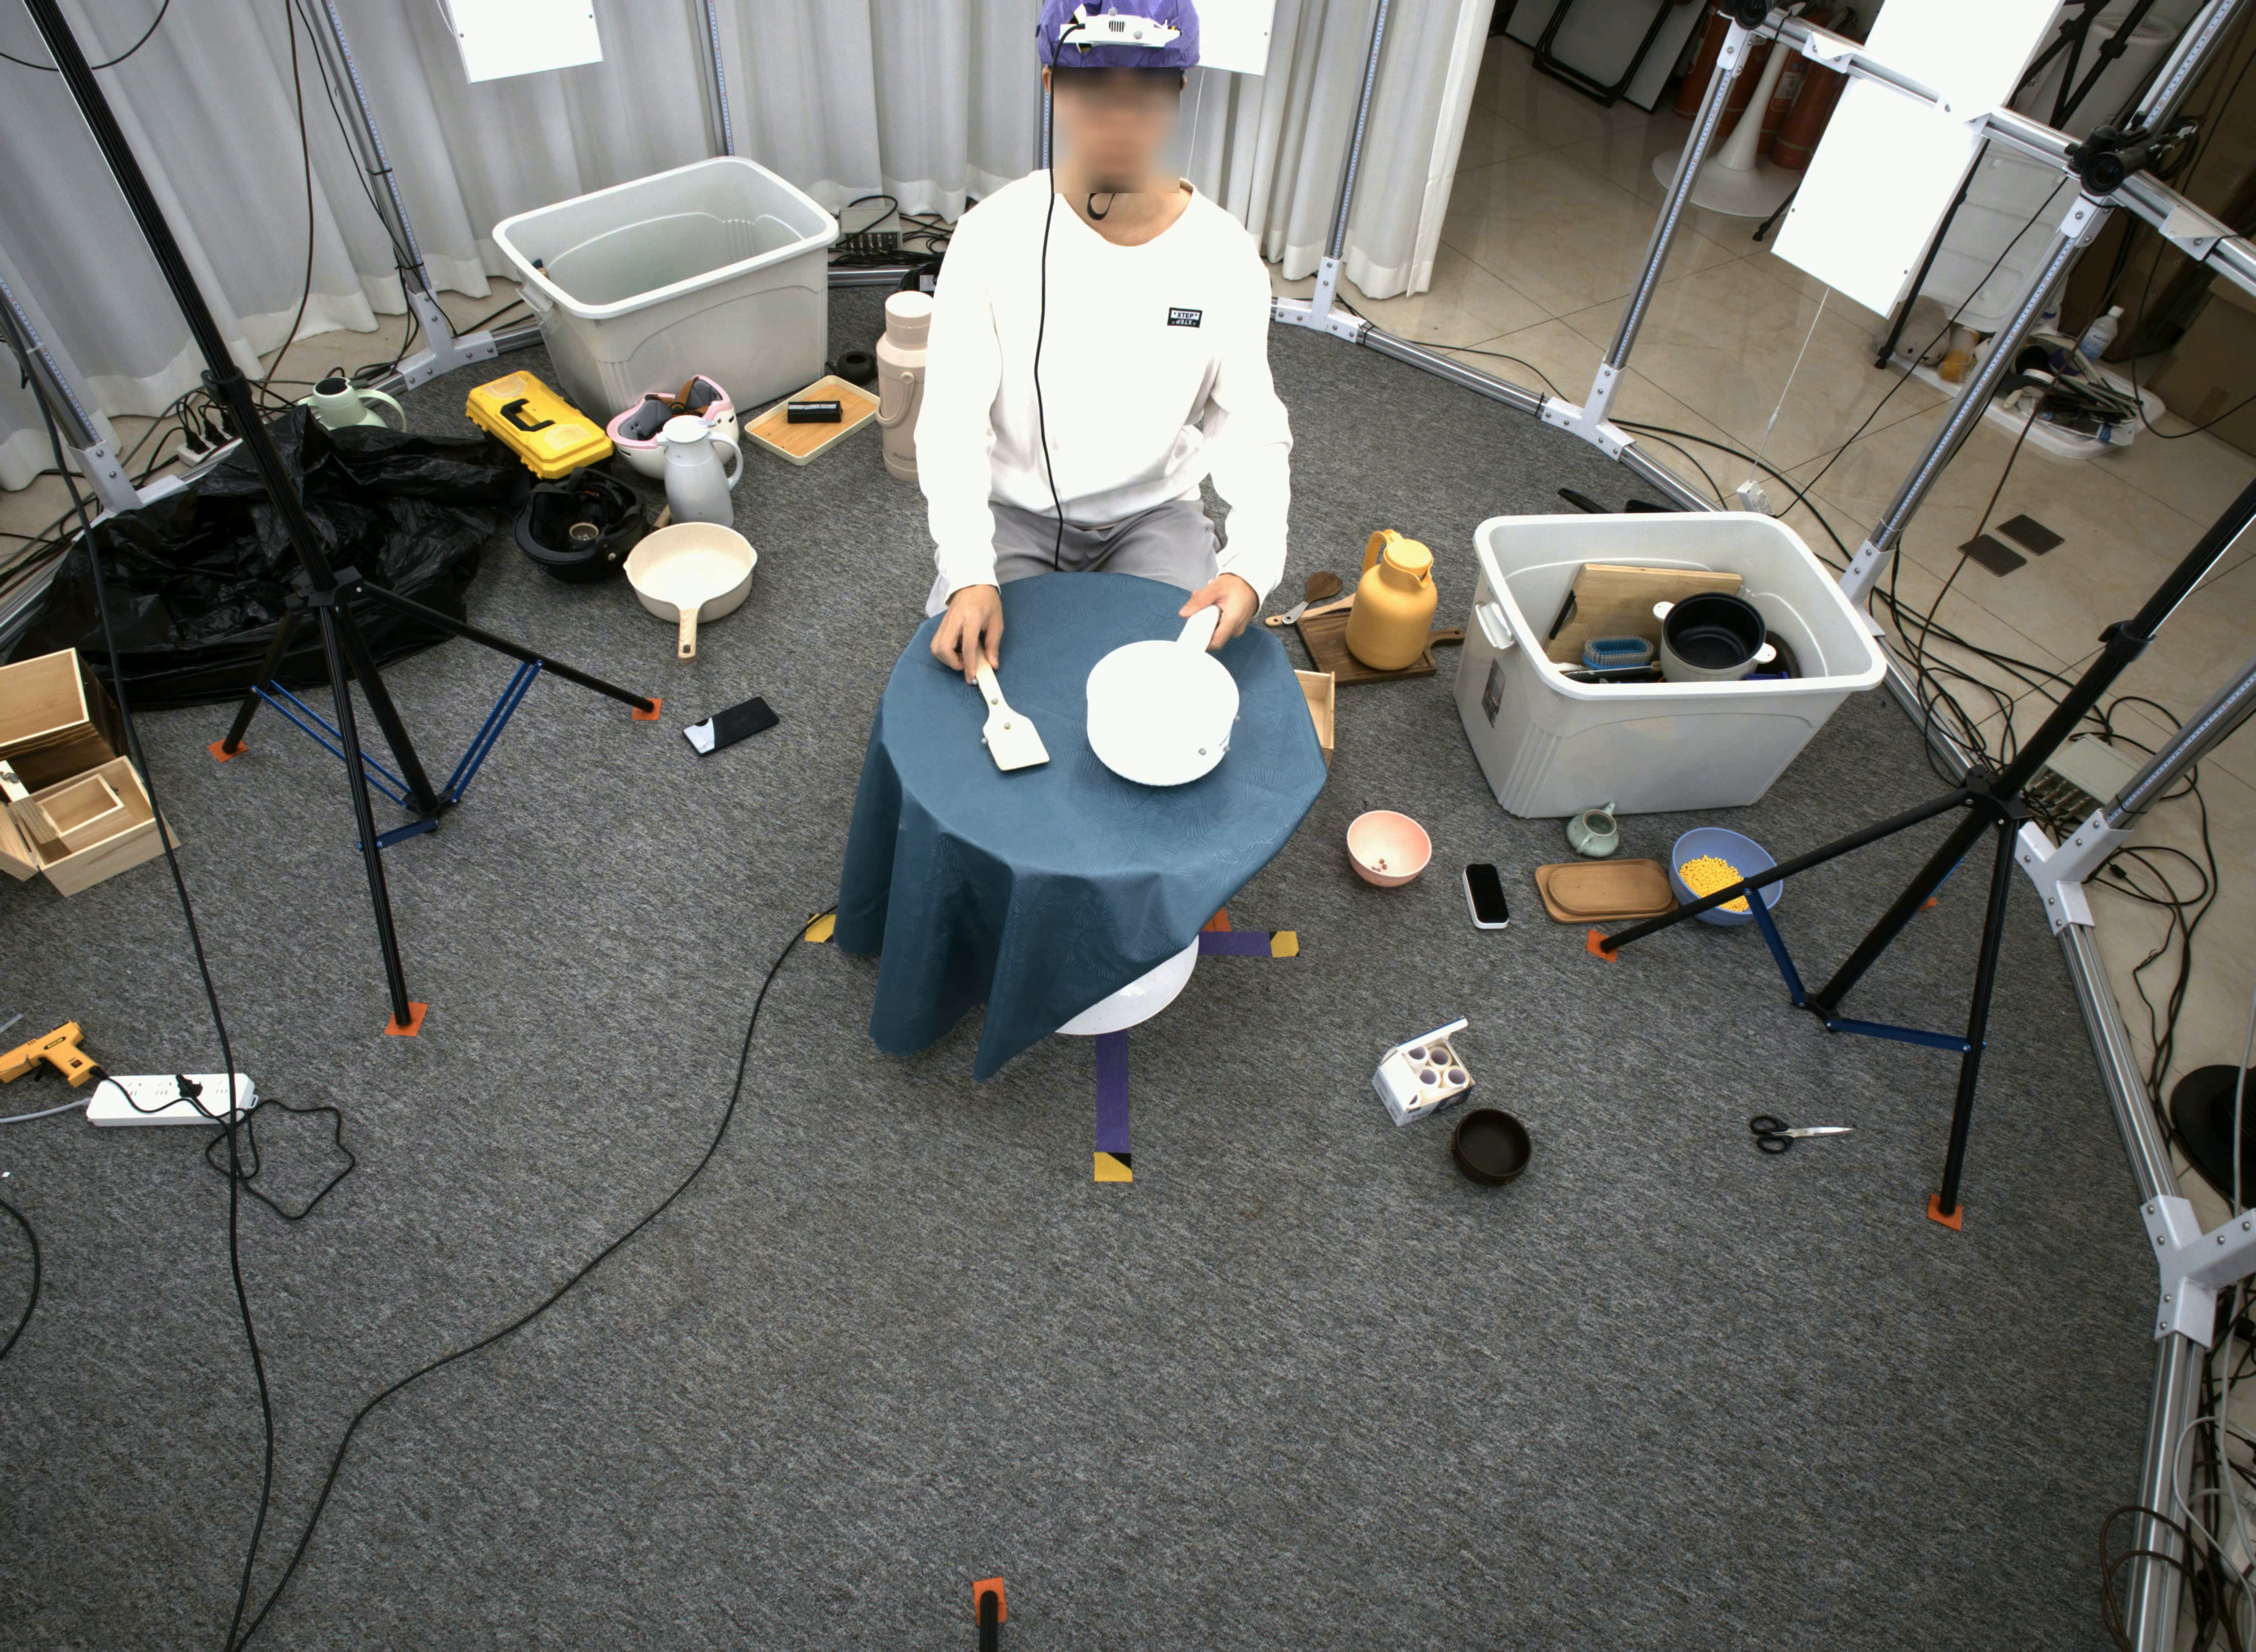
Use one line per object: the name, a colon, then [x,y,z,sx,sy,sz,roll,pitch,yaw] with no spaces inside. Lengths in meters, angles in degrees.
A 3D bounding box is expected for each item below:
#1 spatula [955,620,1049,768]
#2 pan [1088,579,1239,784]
spatula: [-0.190,-0.191,1.801,0.072,0.010,0.300,-13,52,-17]
pan: [0.071,-0.202,1.774,0.202,0.099,0.362,18,49,11]
